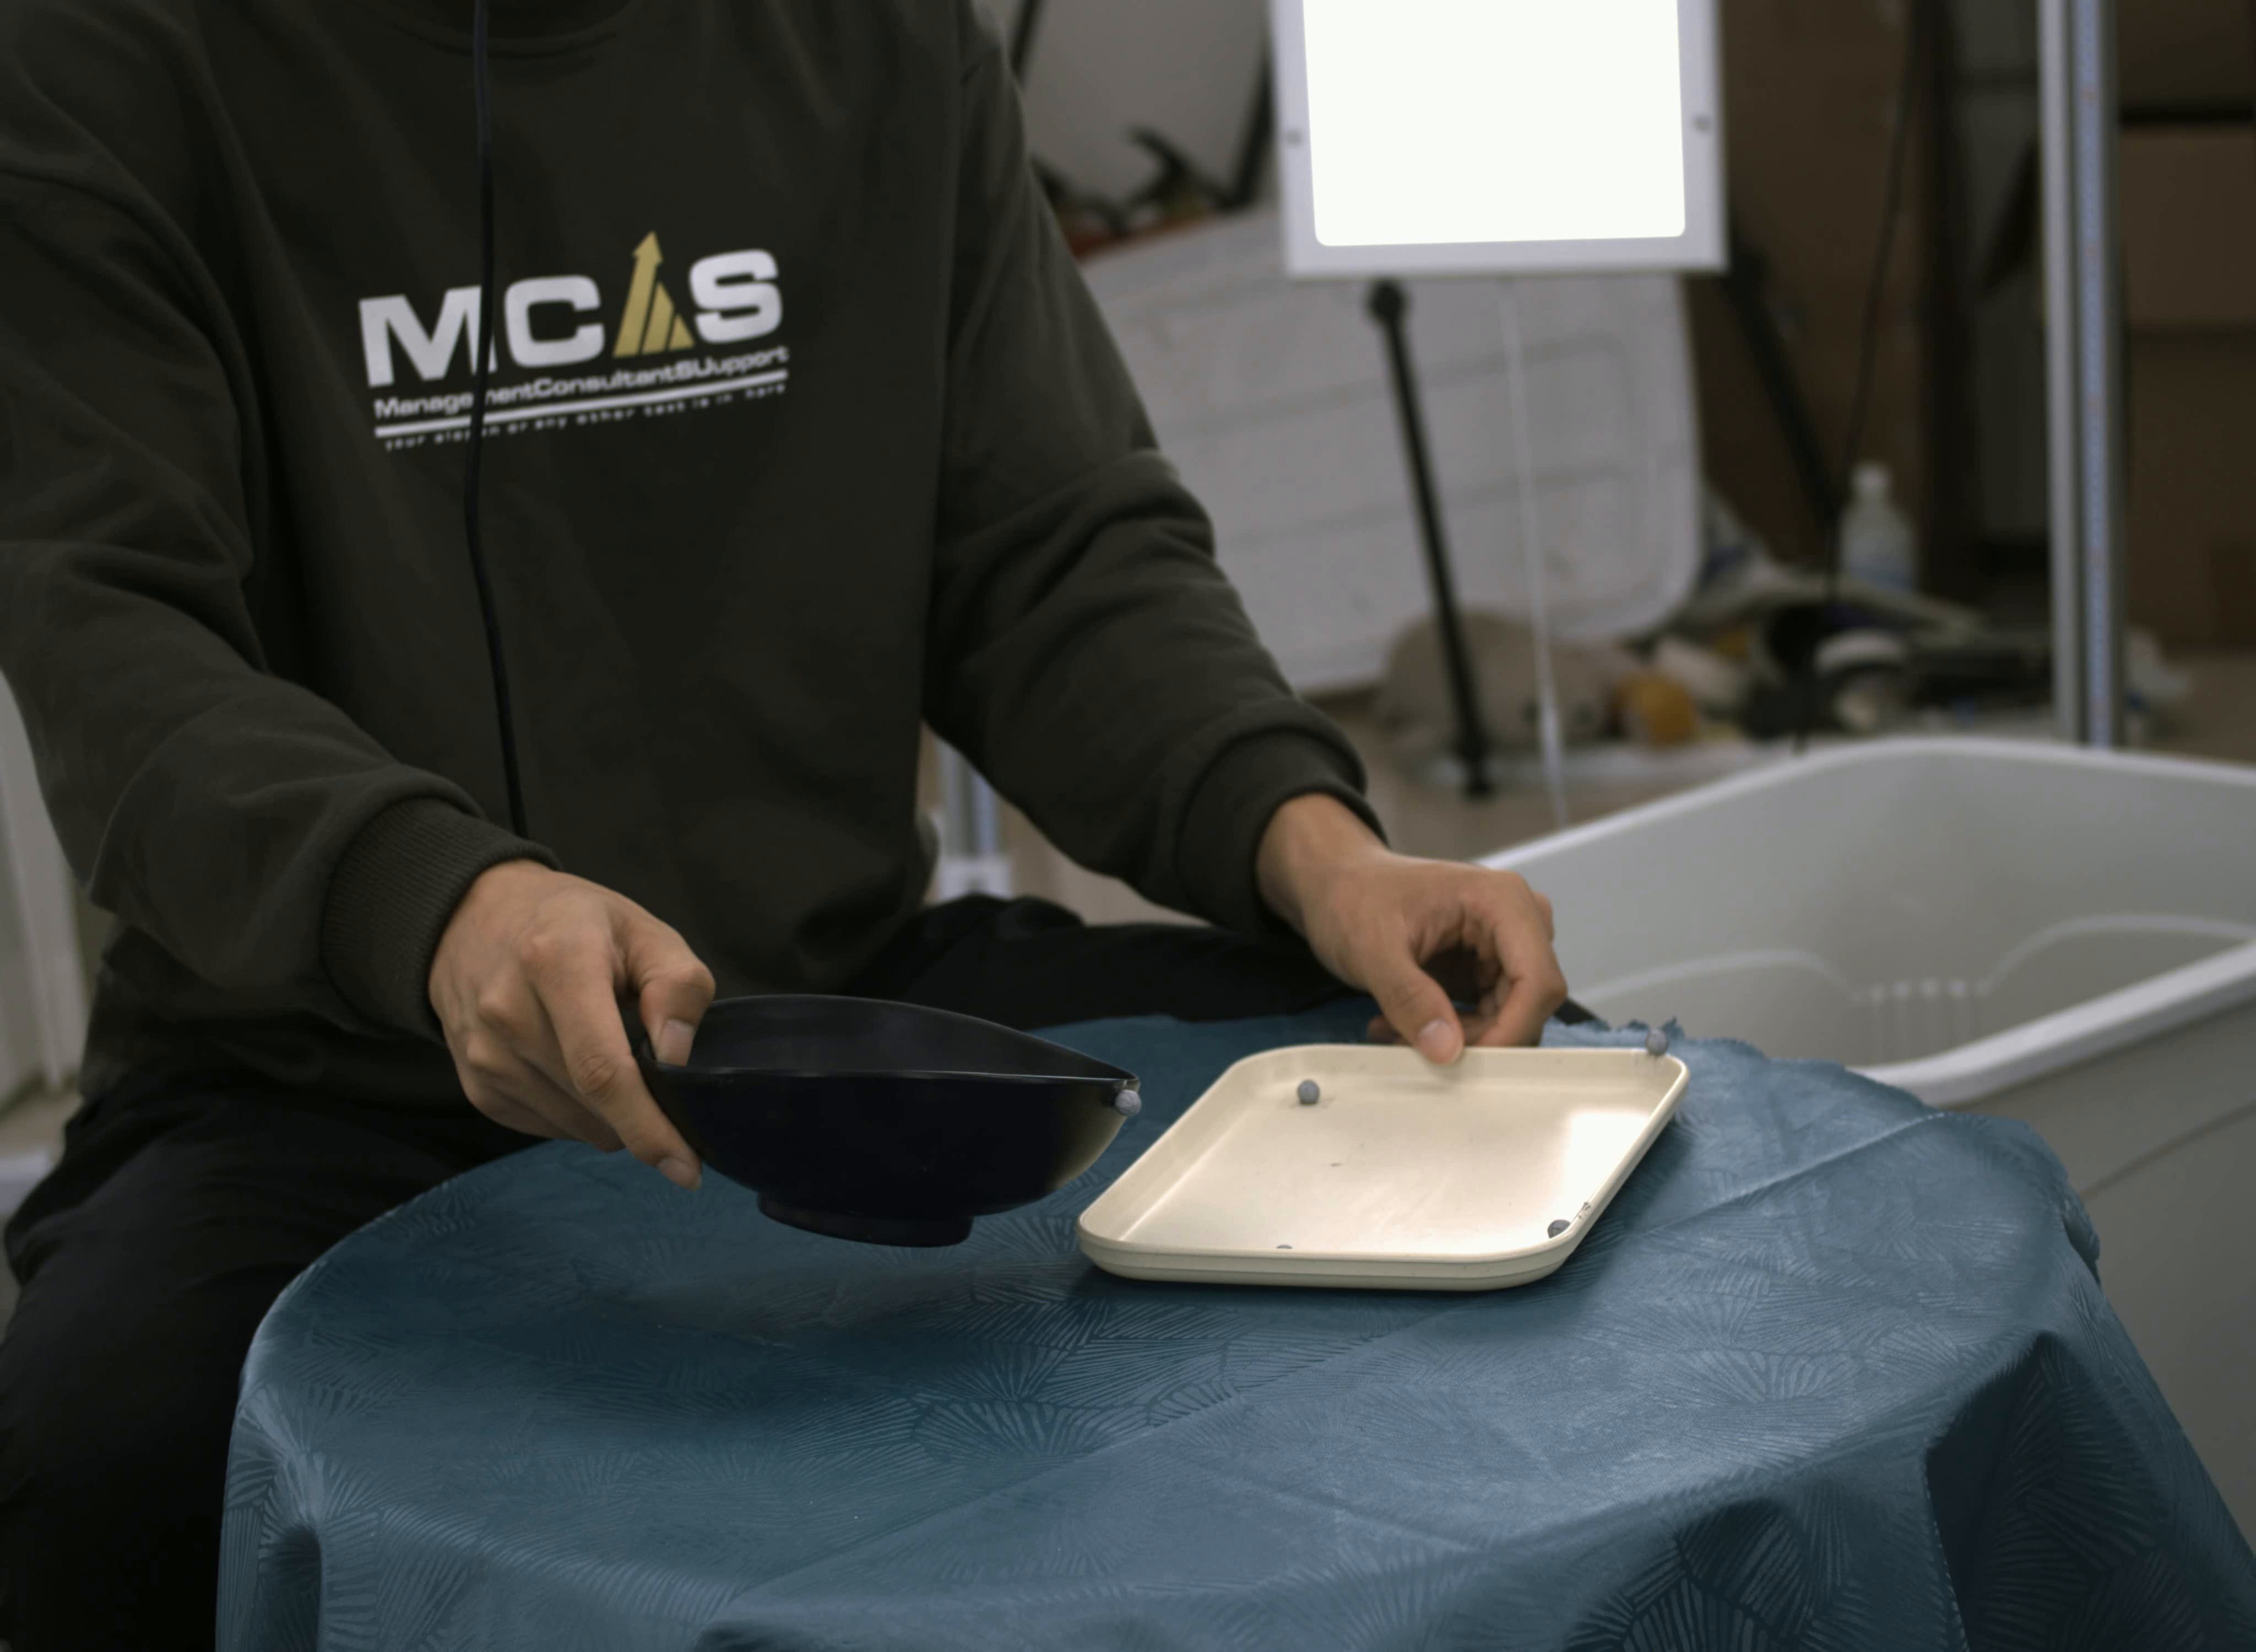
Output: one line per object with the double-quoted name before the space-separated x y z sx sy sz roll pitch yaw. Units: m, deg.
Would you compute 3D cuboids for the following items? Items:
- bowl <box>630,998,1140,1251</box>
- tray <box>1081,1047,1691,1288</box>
"bowl" -0.079 0.099 1.779 0.166 0.067 0.140 3 6 -28
"tray" 0.092 0.116 1.875 0.173 0.017 0.236 -1 14 19
